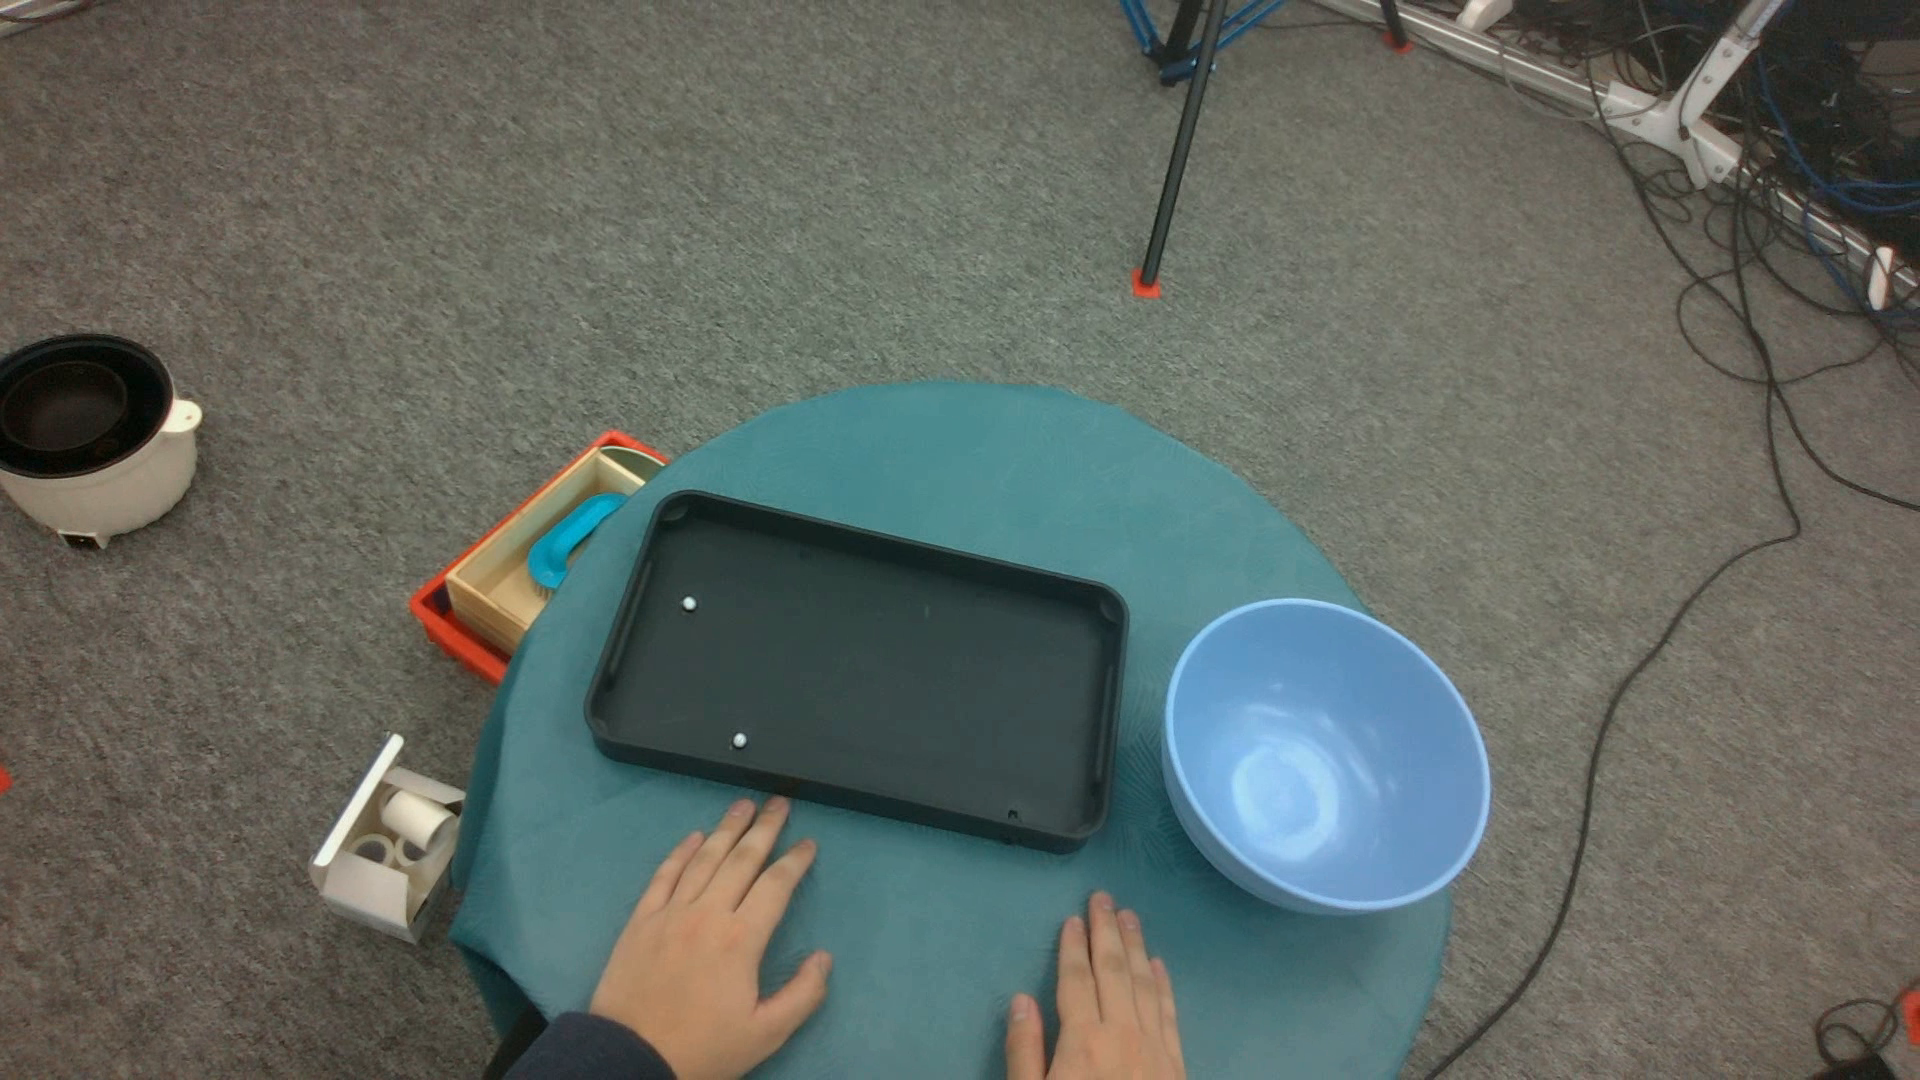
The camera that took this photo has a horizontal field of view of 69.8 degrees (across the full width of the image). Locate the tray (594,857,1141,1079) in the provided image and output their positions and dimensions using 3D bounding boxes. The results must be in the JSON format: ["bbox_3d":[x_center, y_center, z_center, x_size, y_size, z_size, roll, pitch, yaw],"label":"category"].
[{"bbox_3d":[-0.057,0.290,0.846,0.318,0.037,0.185,-3,43,-4],"label":"tray"}]

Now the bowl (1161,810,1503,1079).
[{"bbox_3d":[0.213,0.271,0.829,0.196,0.095,0.197,2,41,-2],"label":"bowl"}]
